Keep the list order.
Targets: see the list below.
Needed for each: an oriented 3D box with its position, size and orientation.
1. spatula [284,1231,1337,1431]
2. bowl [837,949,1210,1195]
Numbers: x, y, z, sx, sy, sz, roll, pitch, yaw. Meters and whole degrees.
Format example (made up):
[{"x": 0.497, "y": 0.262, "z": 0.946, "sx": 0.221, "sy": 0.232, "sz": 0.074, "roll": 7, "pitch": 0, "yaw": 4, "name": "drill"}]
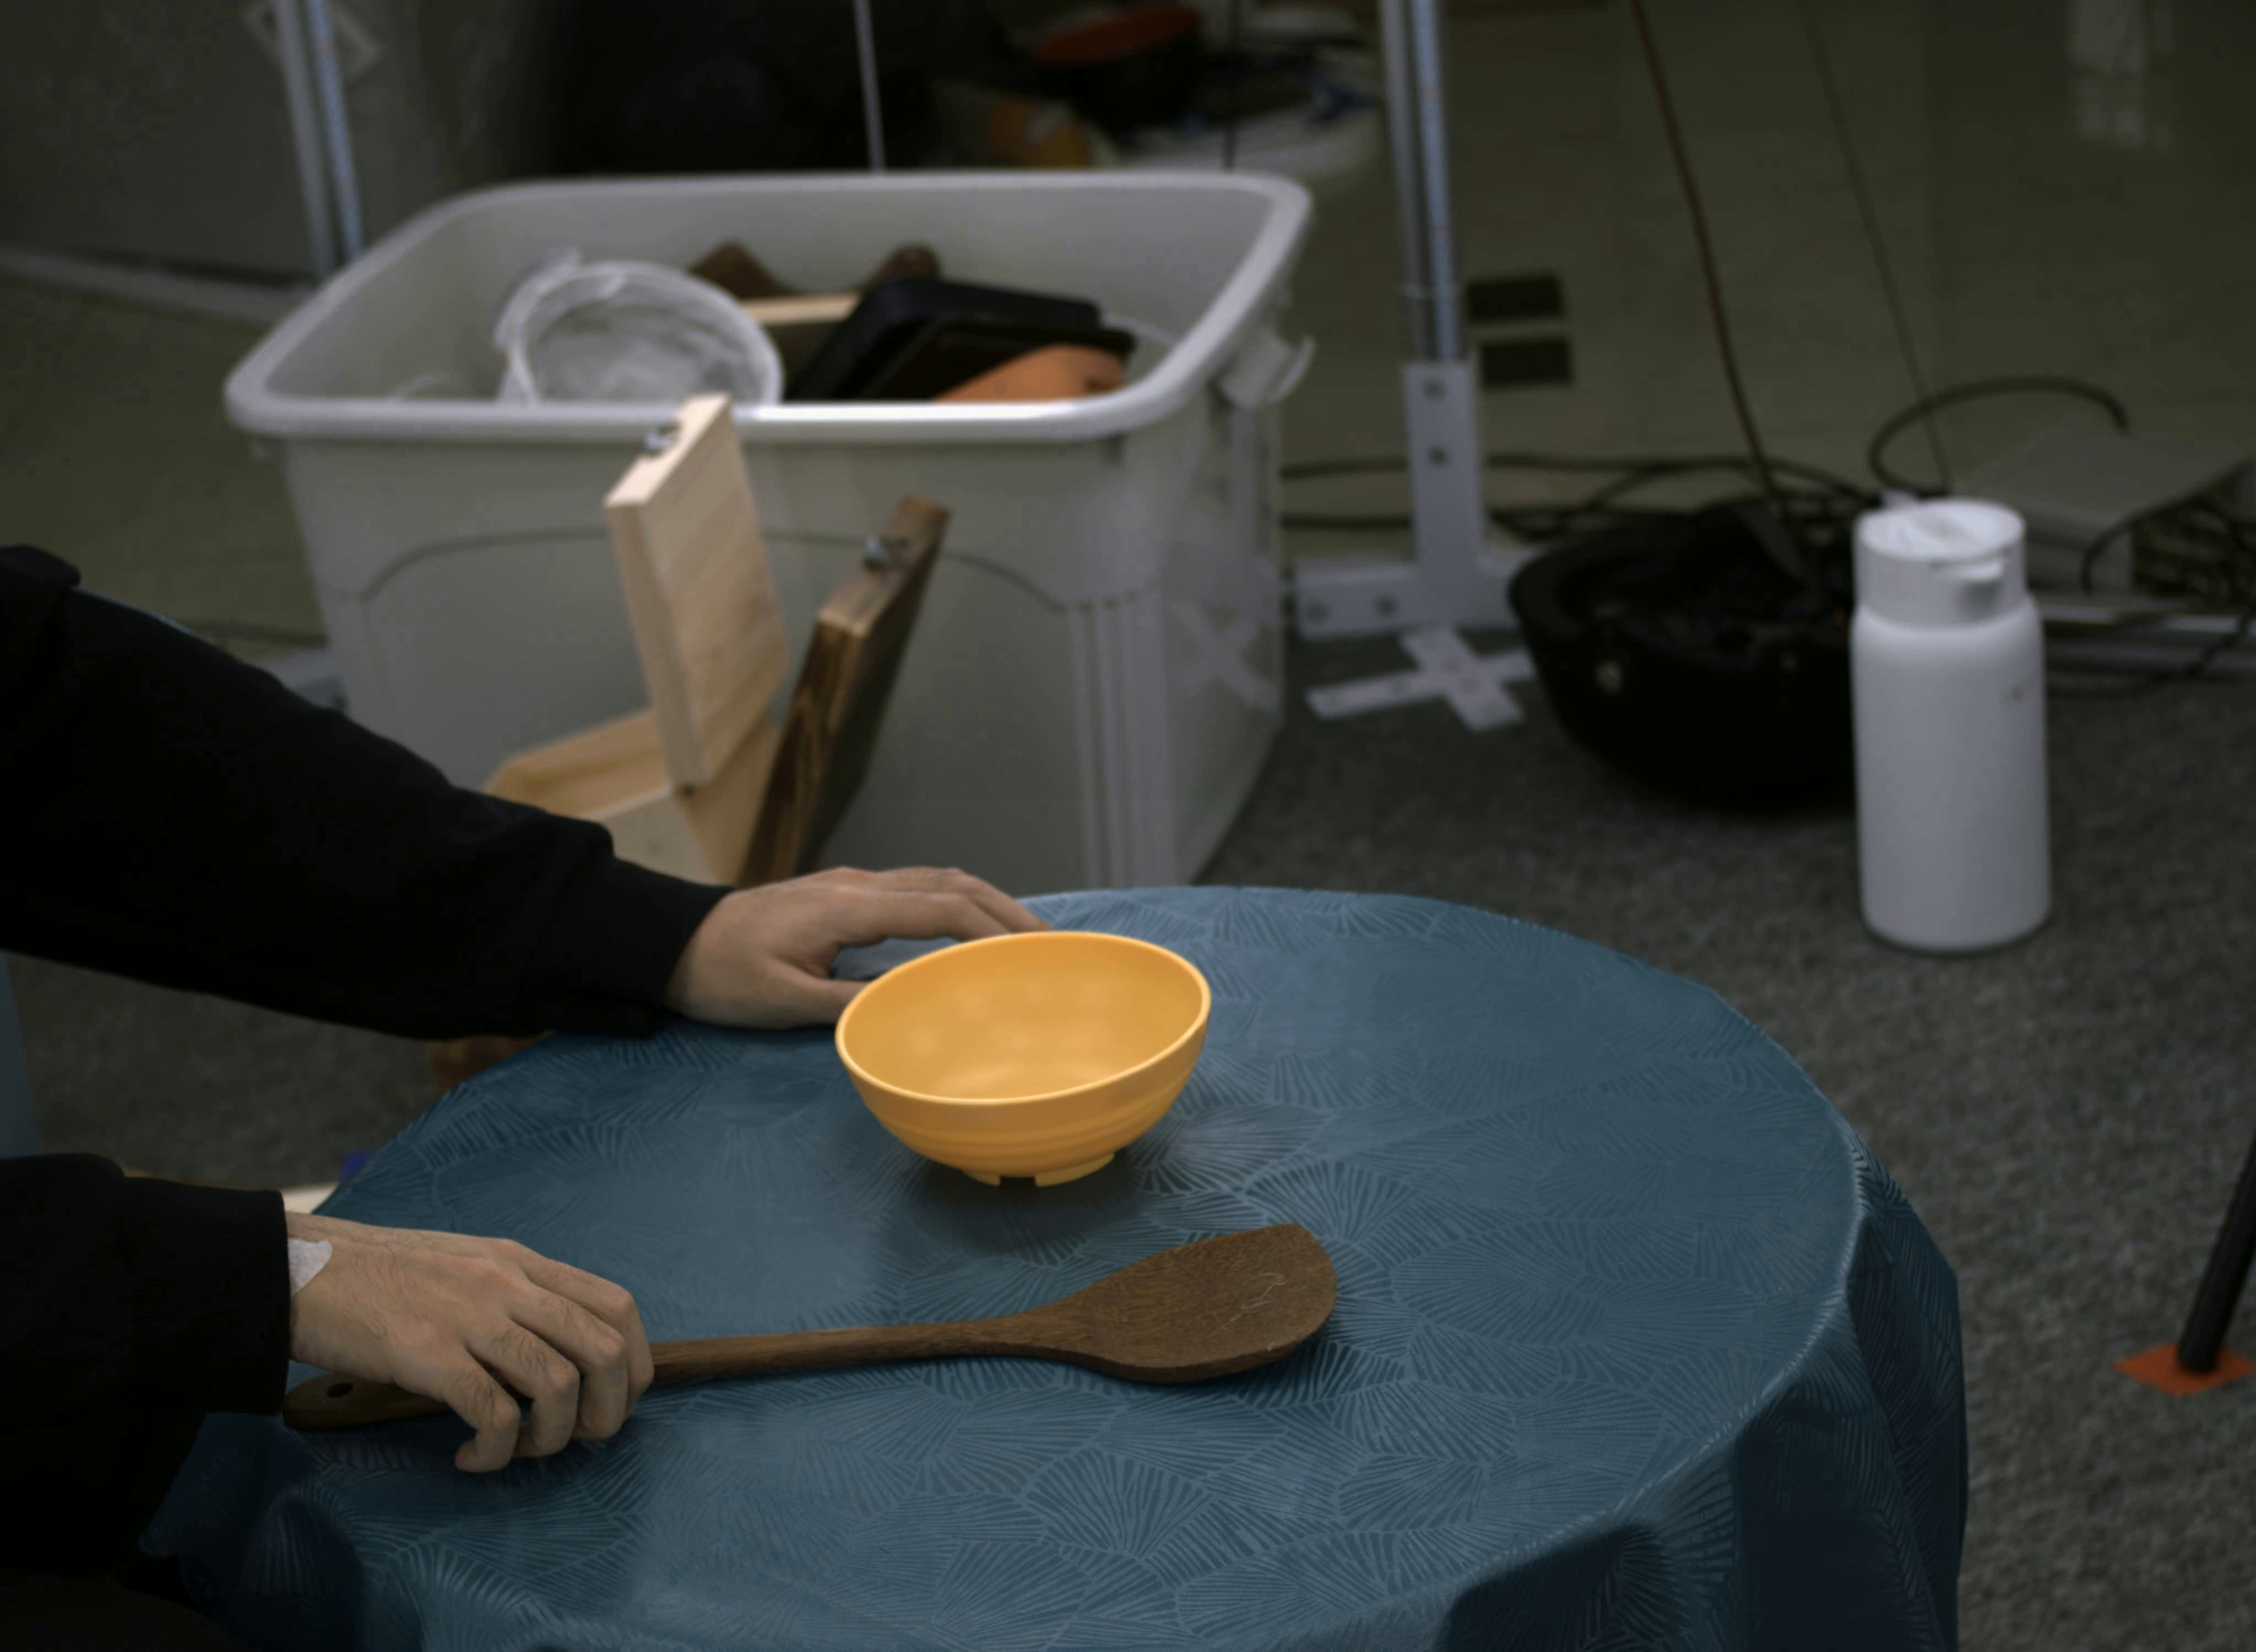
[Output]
[{"x": -0.116, "y": 0.190, "z": 2.056, "sx": 0.385, "sy": 0.016, "sz": 0.095, "roll": -6, "pitch": 25, "yaw": 2, "name": "spatula"}, {"x": -0.037, "y": 0.101, "z": 2.177, "sx": 0.145, "sy": 0.061, "sz": 0.143, "roll": -6, "pitch": 22, "yaw": 3, "name": "bowl"}]
